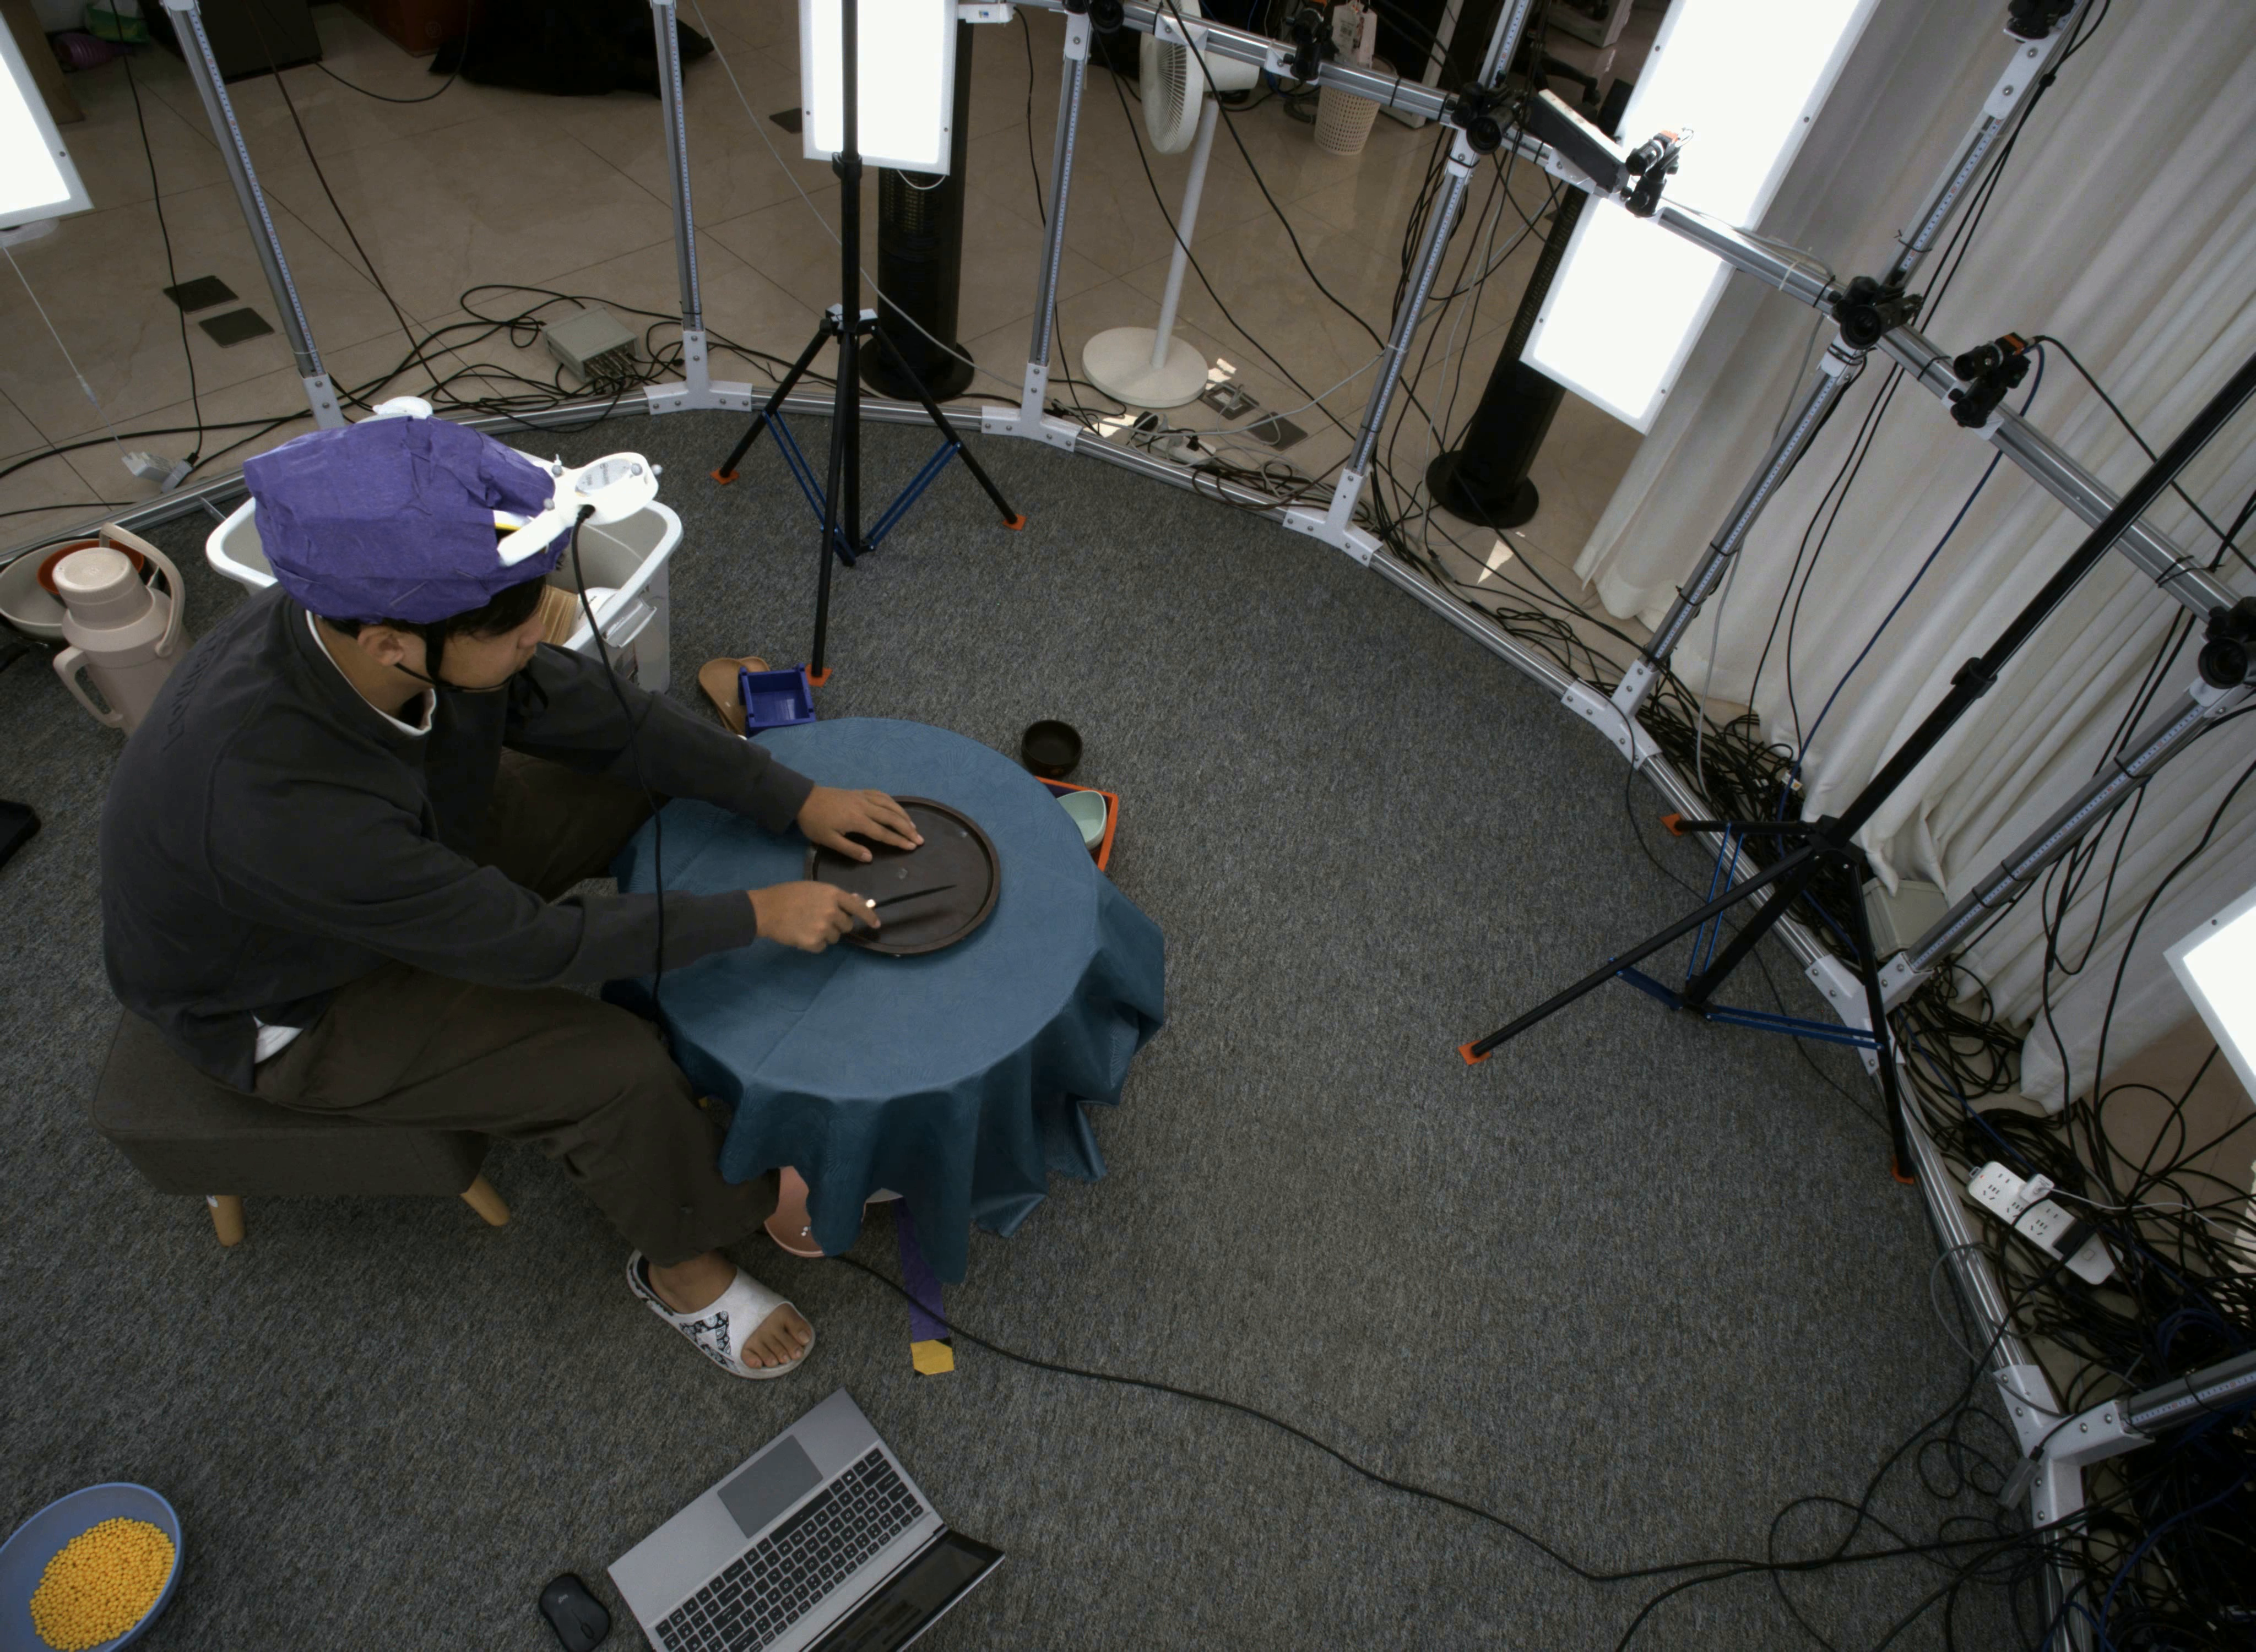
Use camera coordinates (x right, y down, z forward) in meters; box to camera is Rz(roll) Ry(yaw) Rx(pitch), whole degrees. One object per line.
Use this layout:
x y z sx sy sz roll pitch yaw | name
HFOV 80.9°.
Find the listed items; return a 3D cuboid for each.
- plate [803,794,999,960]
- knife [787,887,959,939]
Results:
-0.293 0.063 1.691 0.254 0.029 0.250 7 54 -8 | plate
-0.314 0.102 1.617 0.227 0.026 0.017 -15 70 -25 | knife
